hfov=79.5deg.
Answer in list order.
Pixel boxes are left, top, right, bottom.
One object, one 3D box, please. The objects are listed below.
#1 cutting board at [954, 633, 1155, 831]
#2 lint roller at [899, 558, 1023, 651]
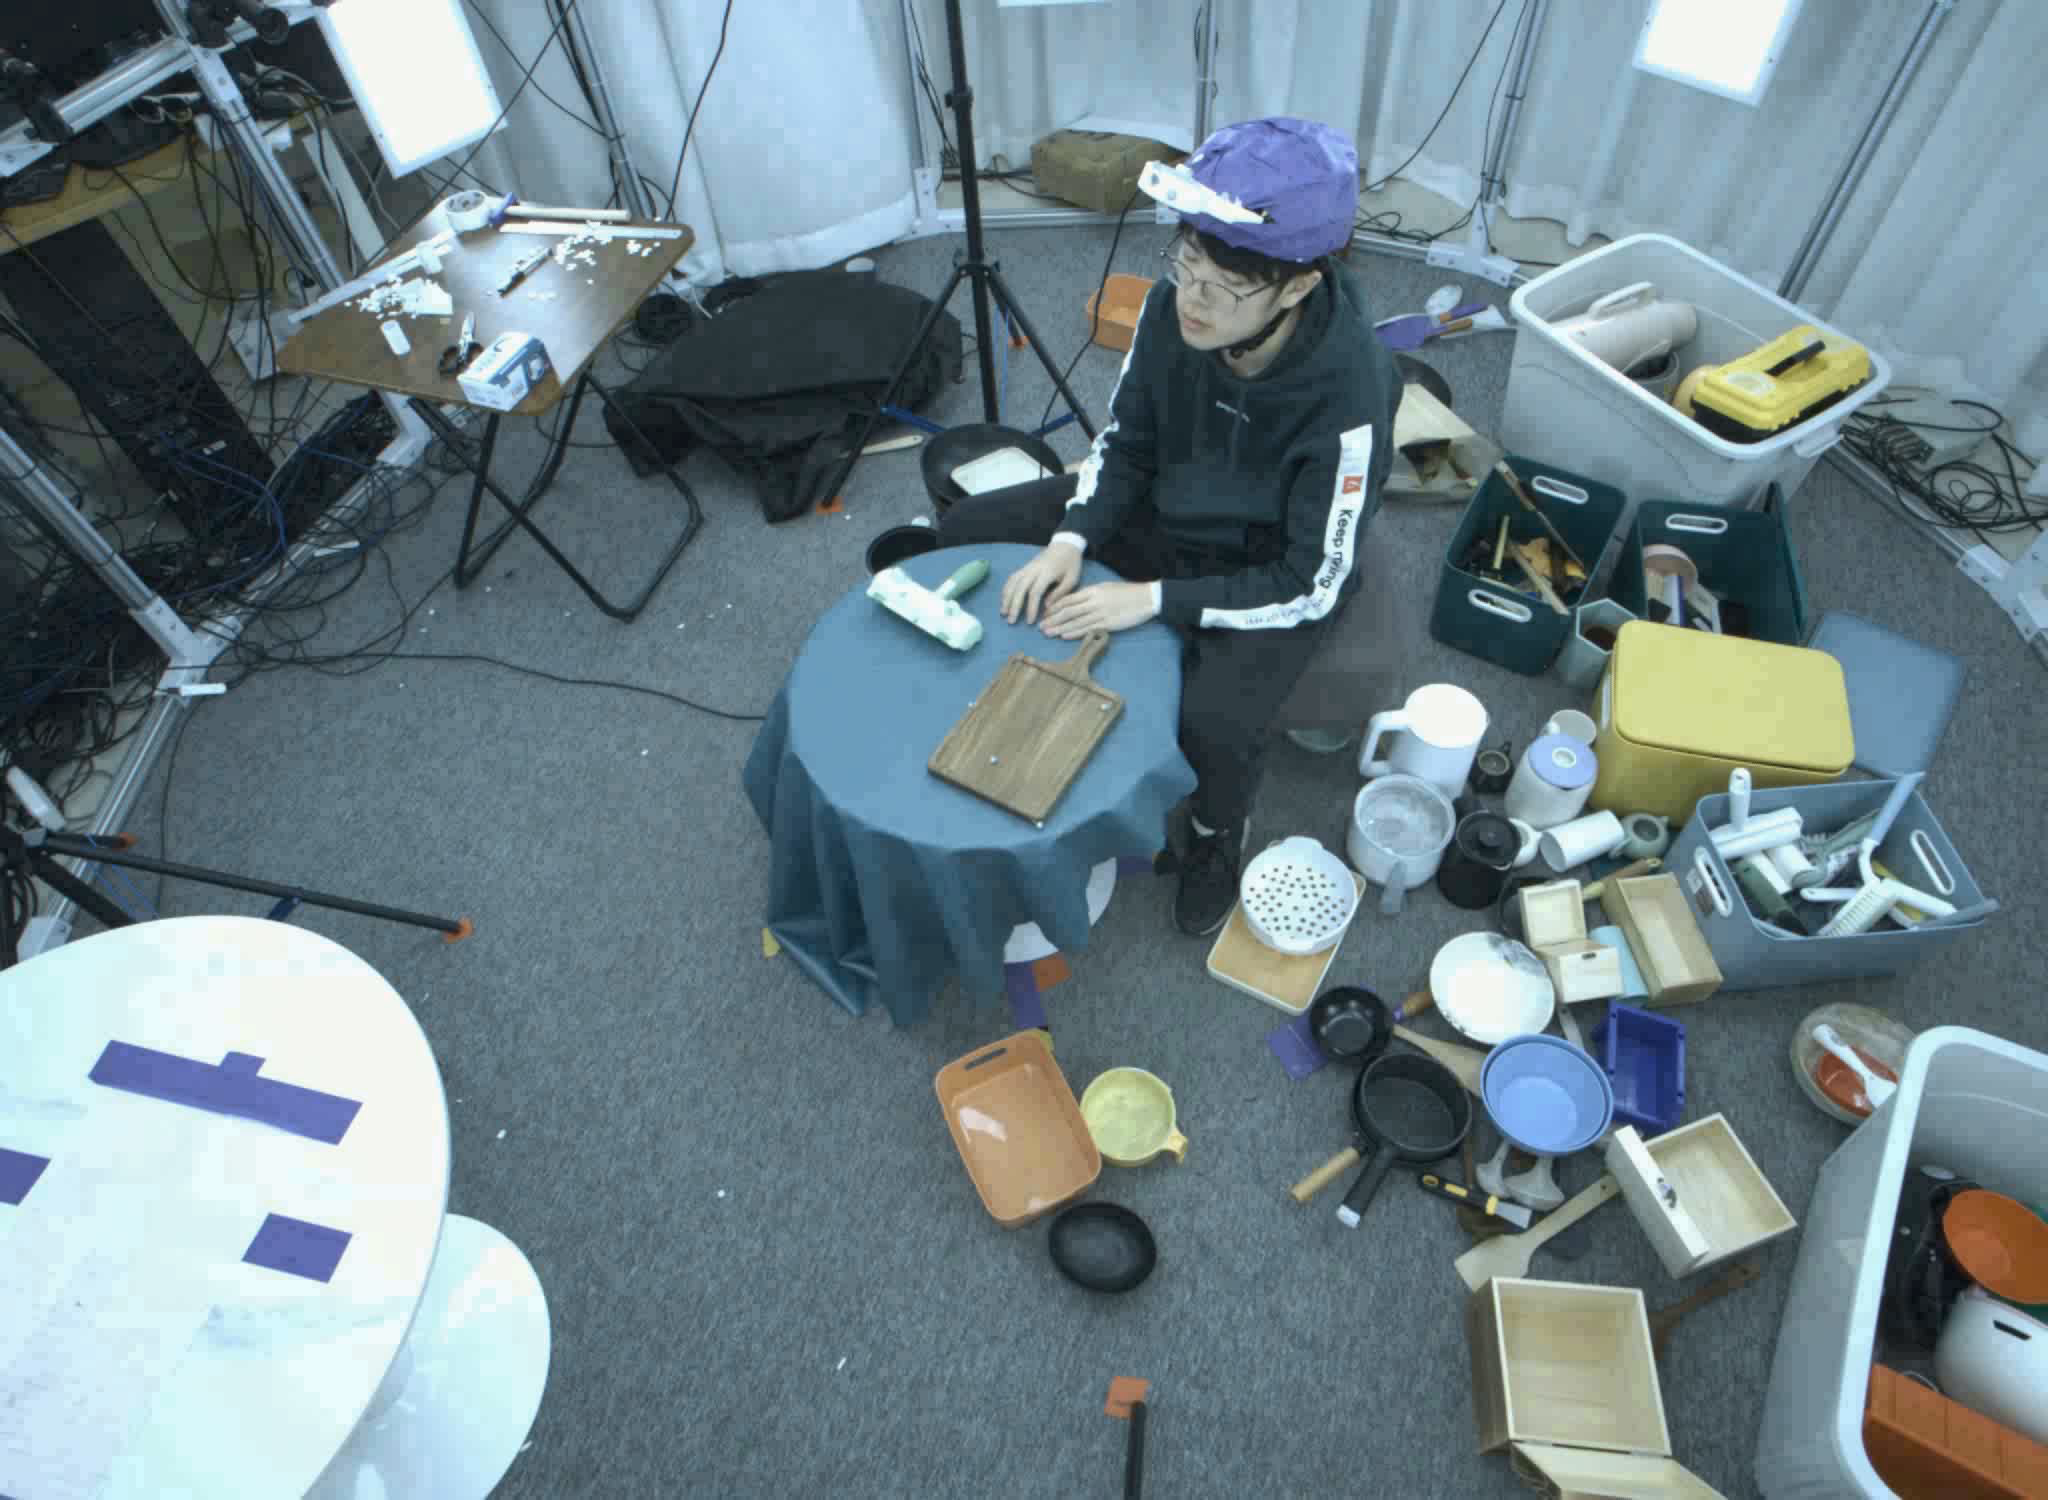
[{"bbox_3d":[0.073,-0.050,1.803,0.198,0.023,0.353,27,60,19],"label":"cutting board"},{"bbox_3d":[-0.070,-0.260,1.922,0.195,0.083,0.184,35,68,24],"label":"lint roller"}]
